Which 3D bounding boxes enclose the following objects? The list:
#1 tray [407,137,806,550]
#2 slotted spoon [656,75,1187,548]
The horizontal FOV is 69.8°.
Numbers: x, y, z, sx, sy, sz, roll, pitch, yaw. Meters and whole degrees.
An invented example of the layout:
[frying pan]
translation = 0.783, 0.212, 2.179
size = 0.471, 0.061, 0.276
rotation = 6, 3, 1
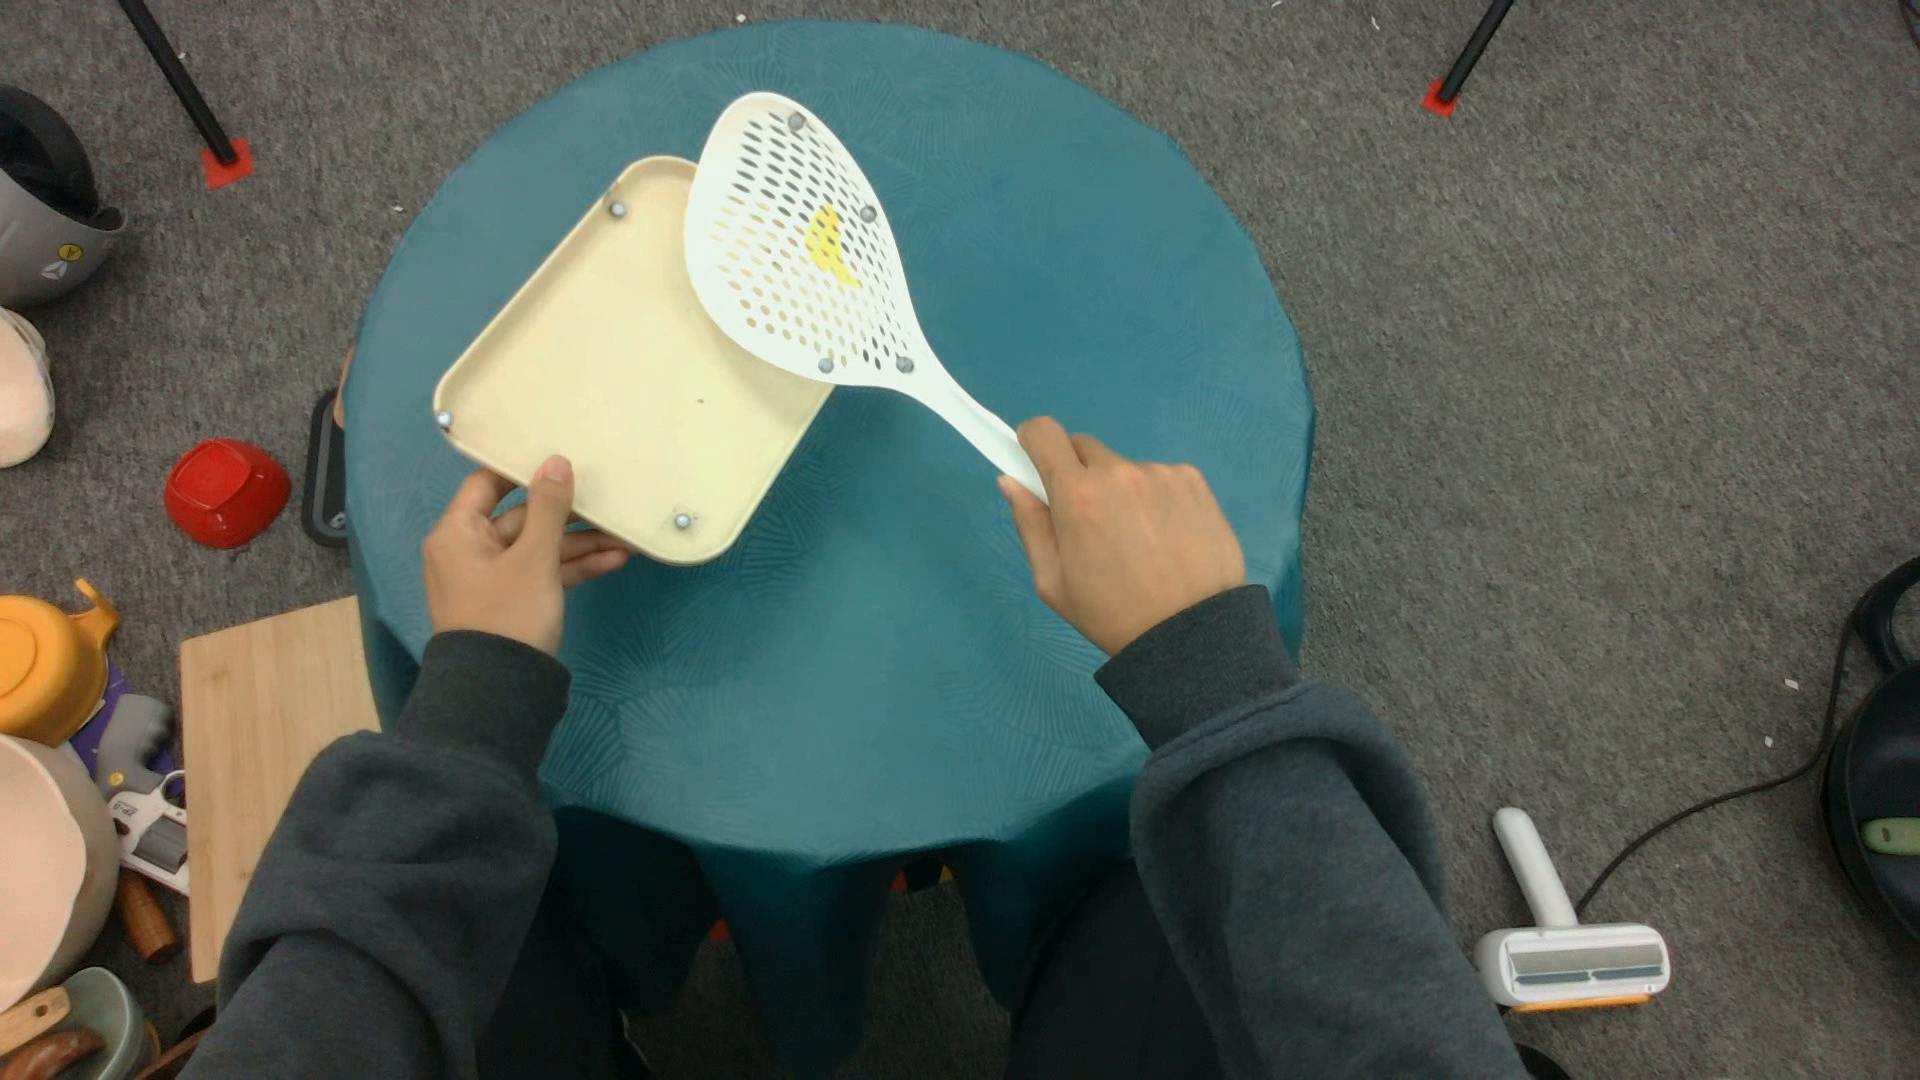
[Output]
[tray]
translation = -0.173, -0.114, 0.764
size = 0.171, 0.017, 0.241
rotation = 30, 57, -5
[slotted spoon]
translation = -0.029, -0.101, 0.687
size = 0.348, 0.136, 0.050
rotation = 45, 35, 24
